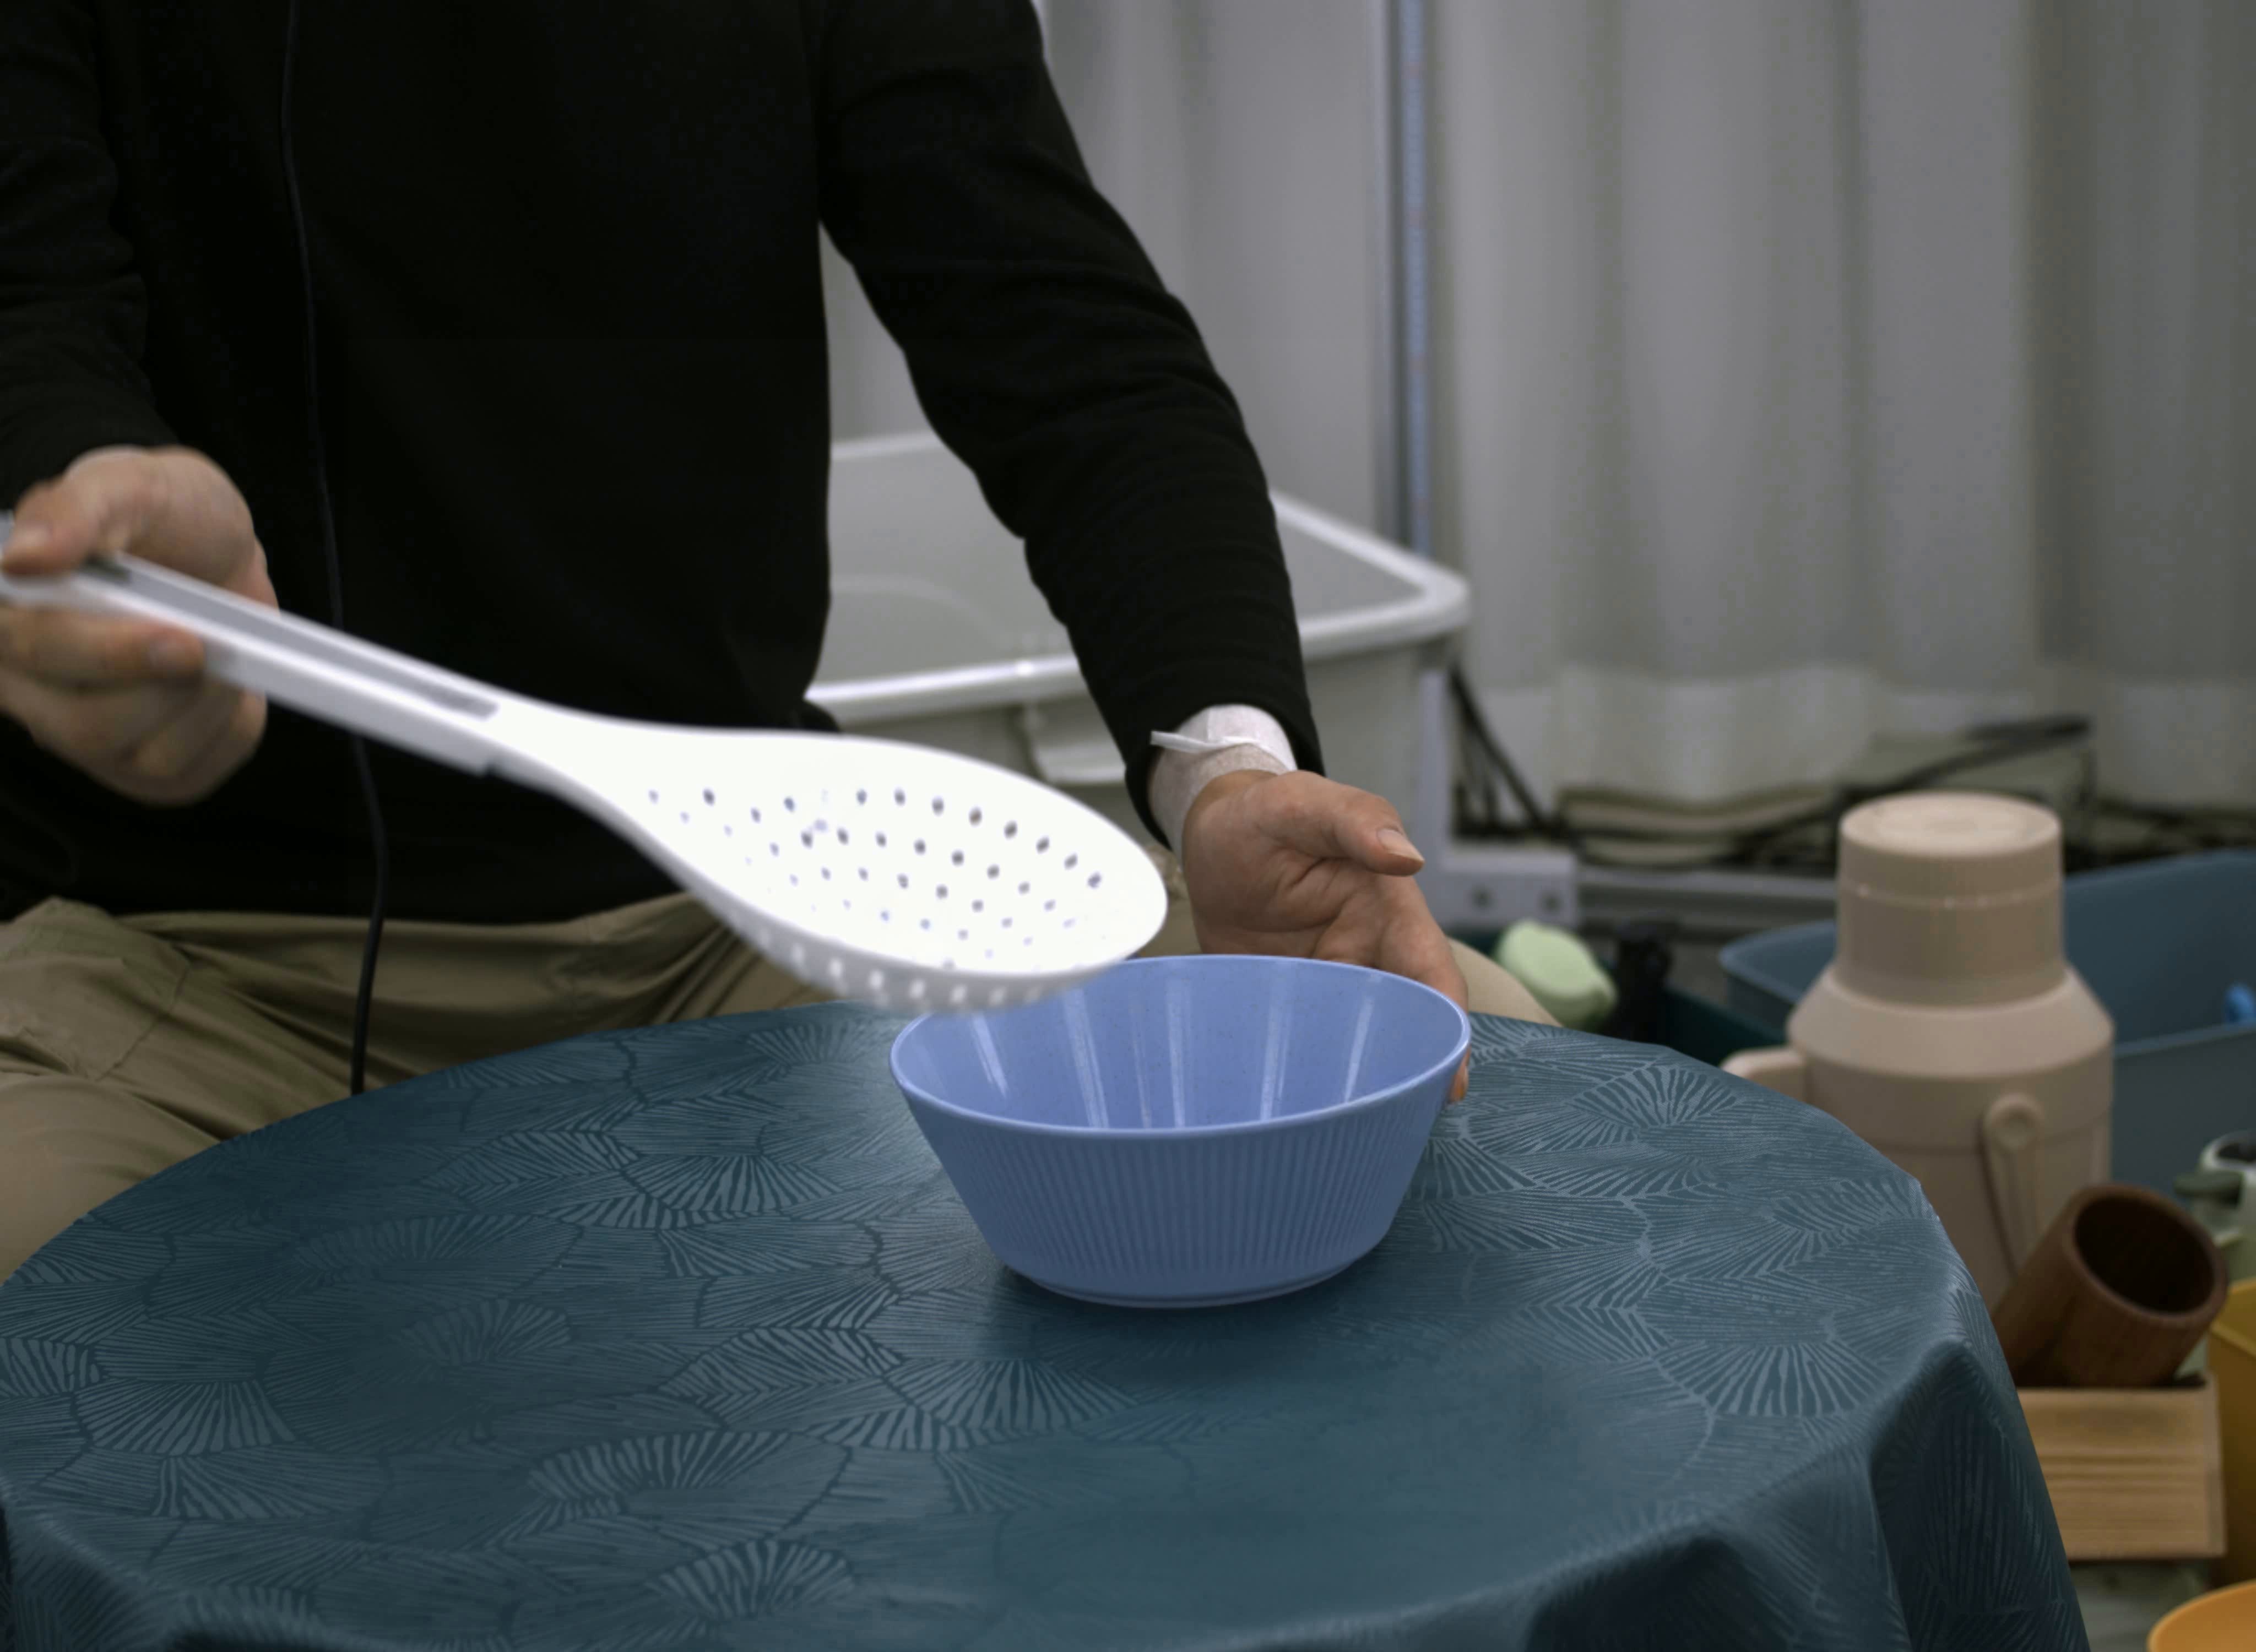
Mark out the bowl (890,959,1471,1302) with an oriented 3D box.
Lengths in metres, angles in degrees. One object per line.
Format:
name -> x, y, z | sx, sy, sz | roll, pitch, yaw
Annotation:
bowl -> 0.017, 0.094, 1.650 | 0.175, 0.070, 0.177 | -2, 14, 0

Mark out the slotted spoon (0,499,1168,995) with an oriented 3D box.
slotted spoon -> -0.157, -0.027, 1.484 | 0.350, 0.045, 0.137 | 23, 25, 8
